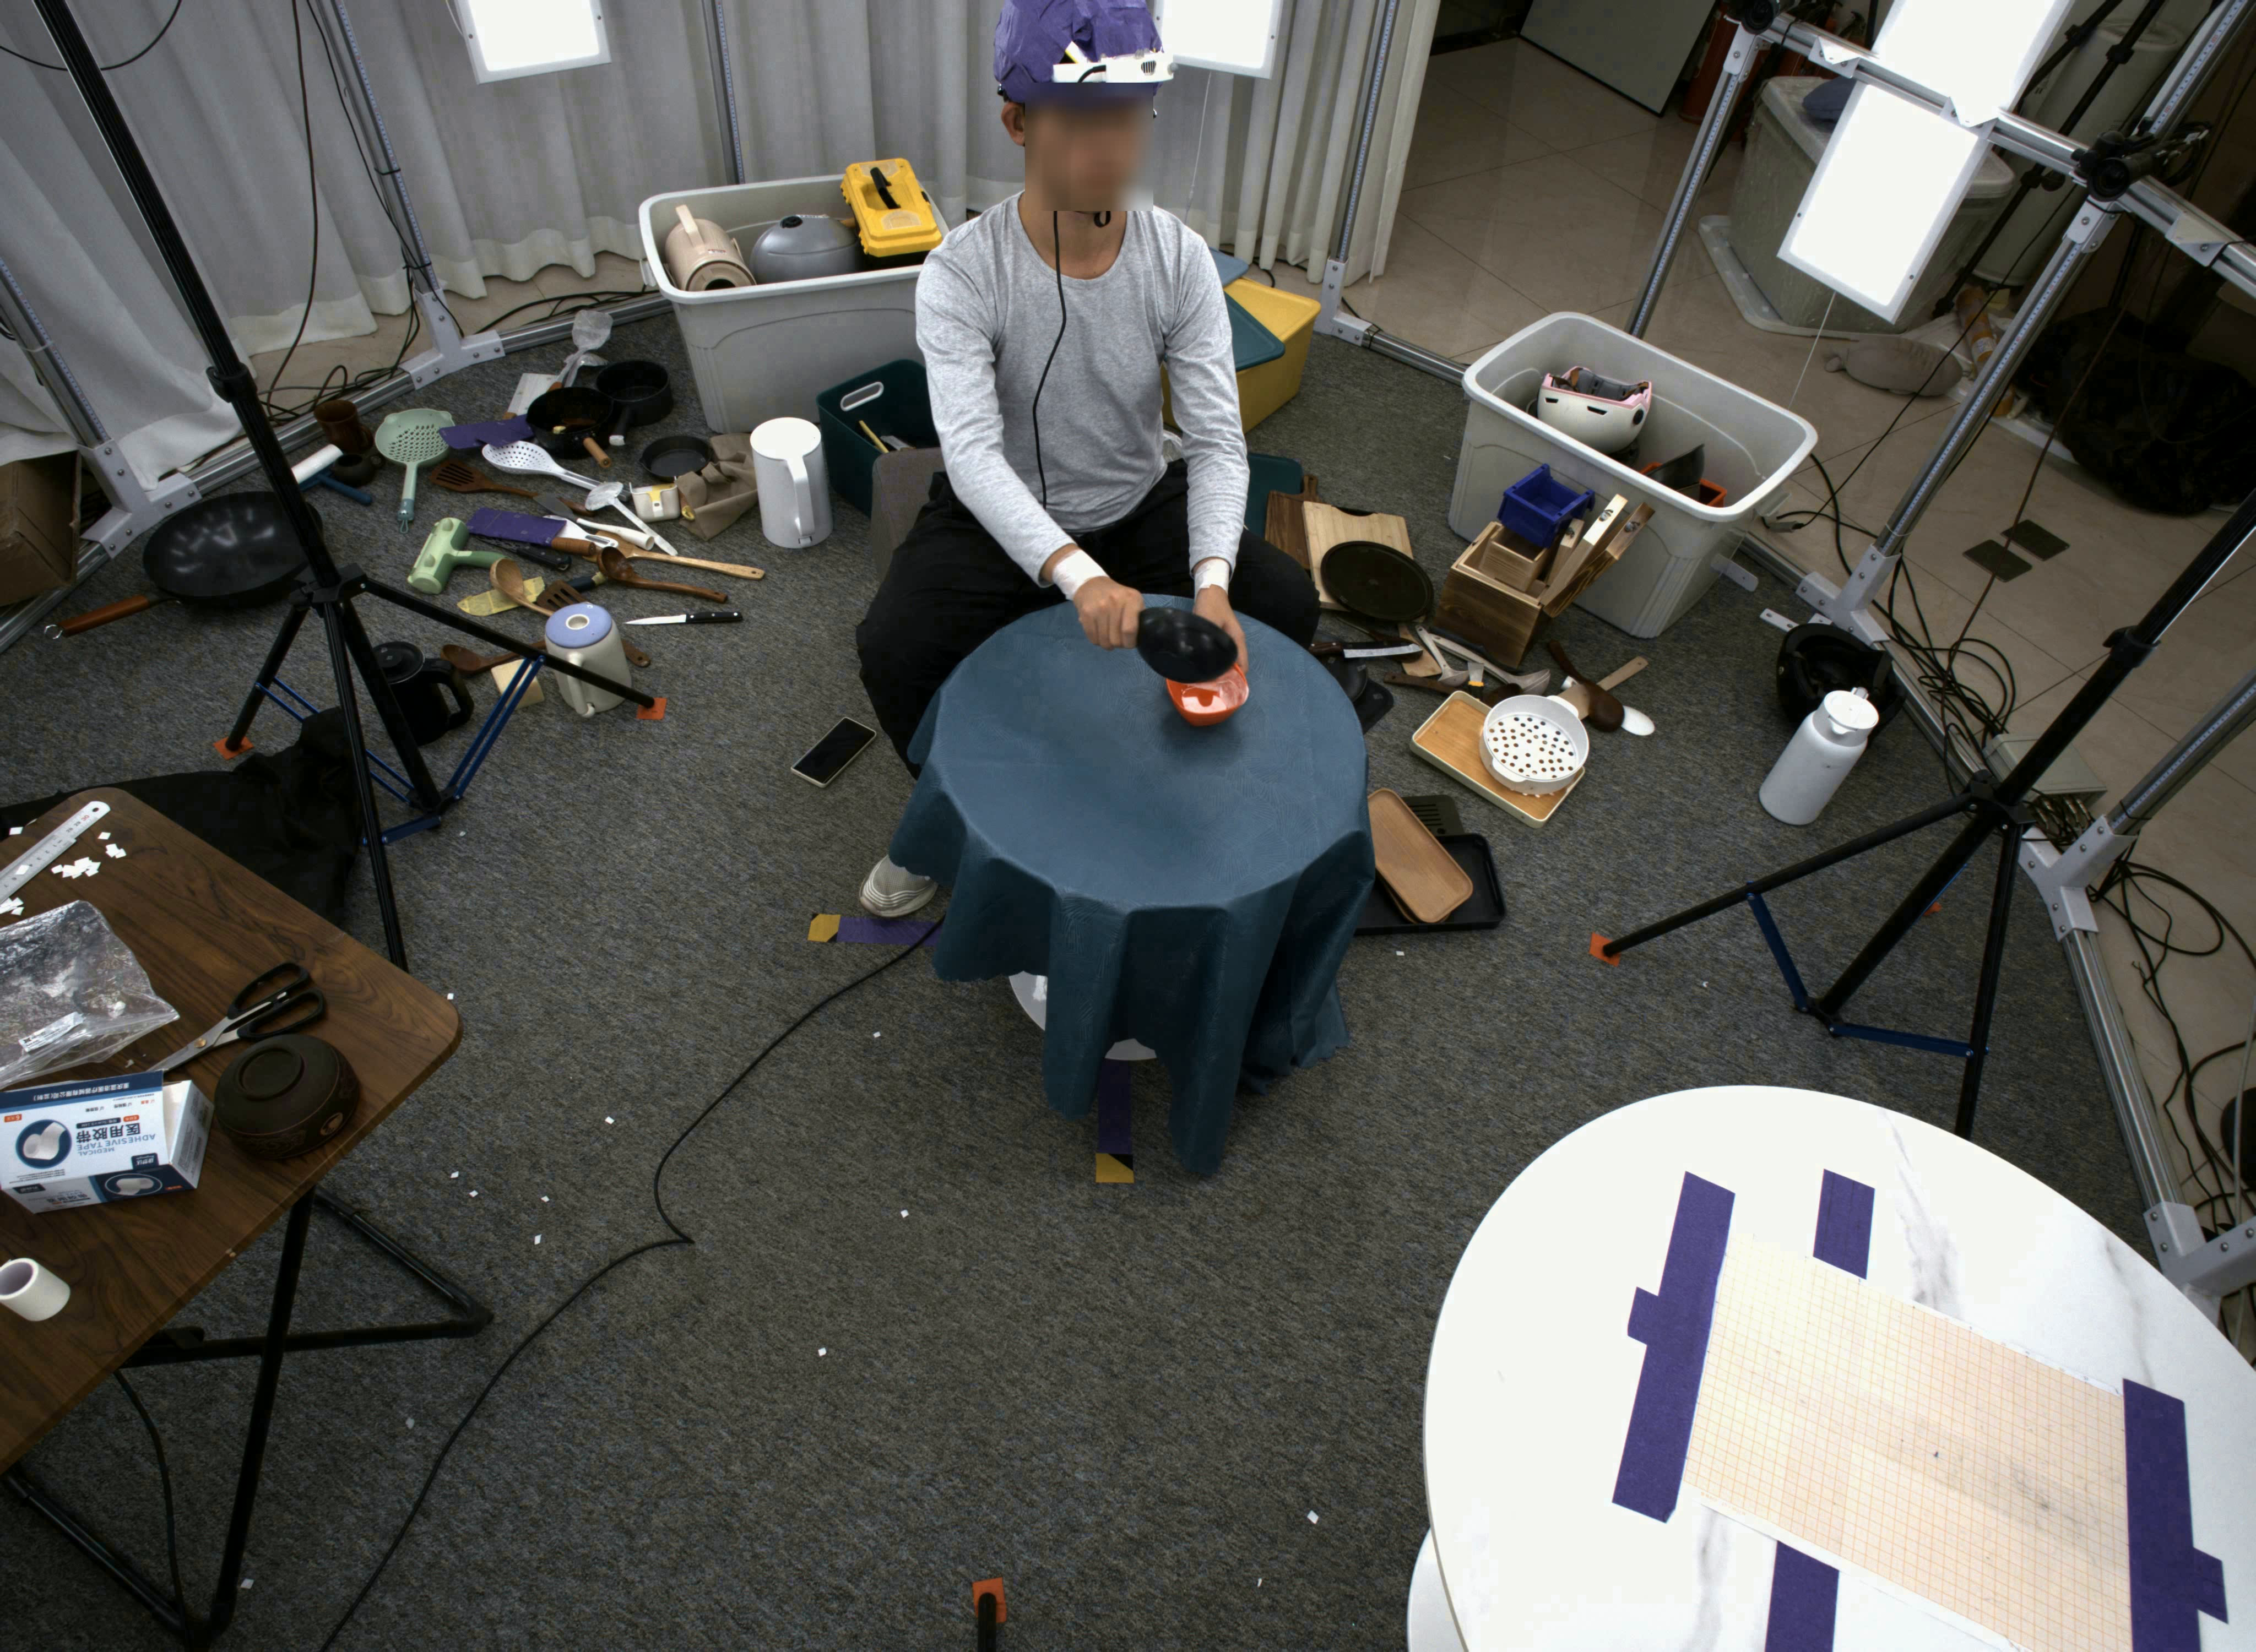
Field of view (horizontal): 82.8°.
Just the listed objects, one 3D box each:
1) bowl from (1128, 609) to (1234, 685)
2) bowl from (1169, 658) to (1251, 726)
[{"bbox_3d":[0.060,-0.216,1.620,0.140,0.137,0.050,16,71,9],"label":"bowl"},{"bbox_3d":[0.112,-0.182,1.785,0.119,0.050,0.122,0,54,-1],"label":"bowl"}]
